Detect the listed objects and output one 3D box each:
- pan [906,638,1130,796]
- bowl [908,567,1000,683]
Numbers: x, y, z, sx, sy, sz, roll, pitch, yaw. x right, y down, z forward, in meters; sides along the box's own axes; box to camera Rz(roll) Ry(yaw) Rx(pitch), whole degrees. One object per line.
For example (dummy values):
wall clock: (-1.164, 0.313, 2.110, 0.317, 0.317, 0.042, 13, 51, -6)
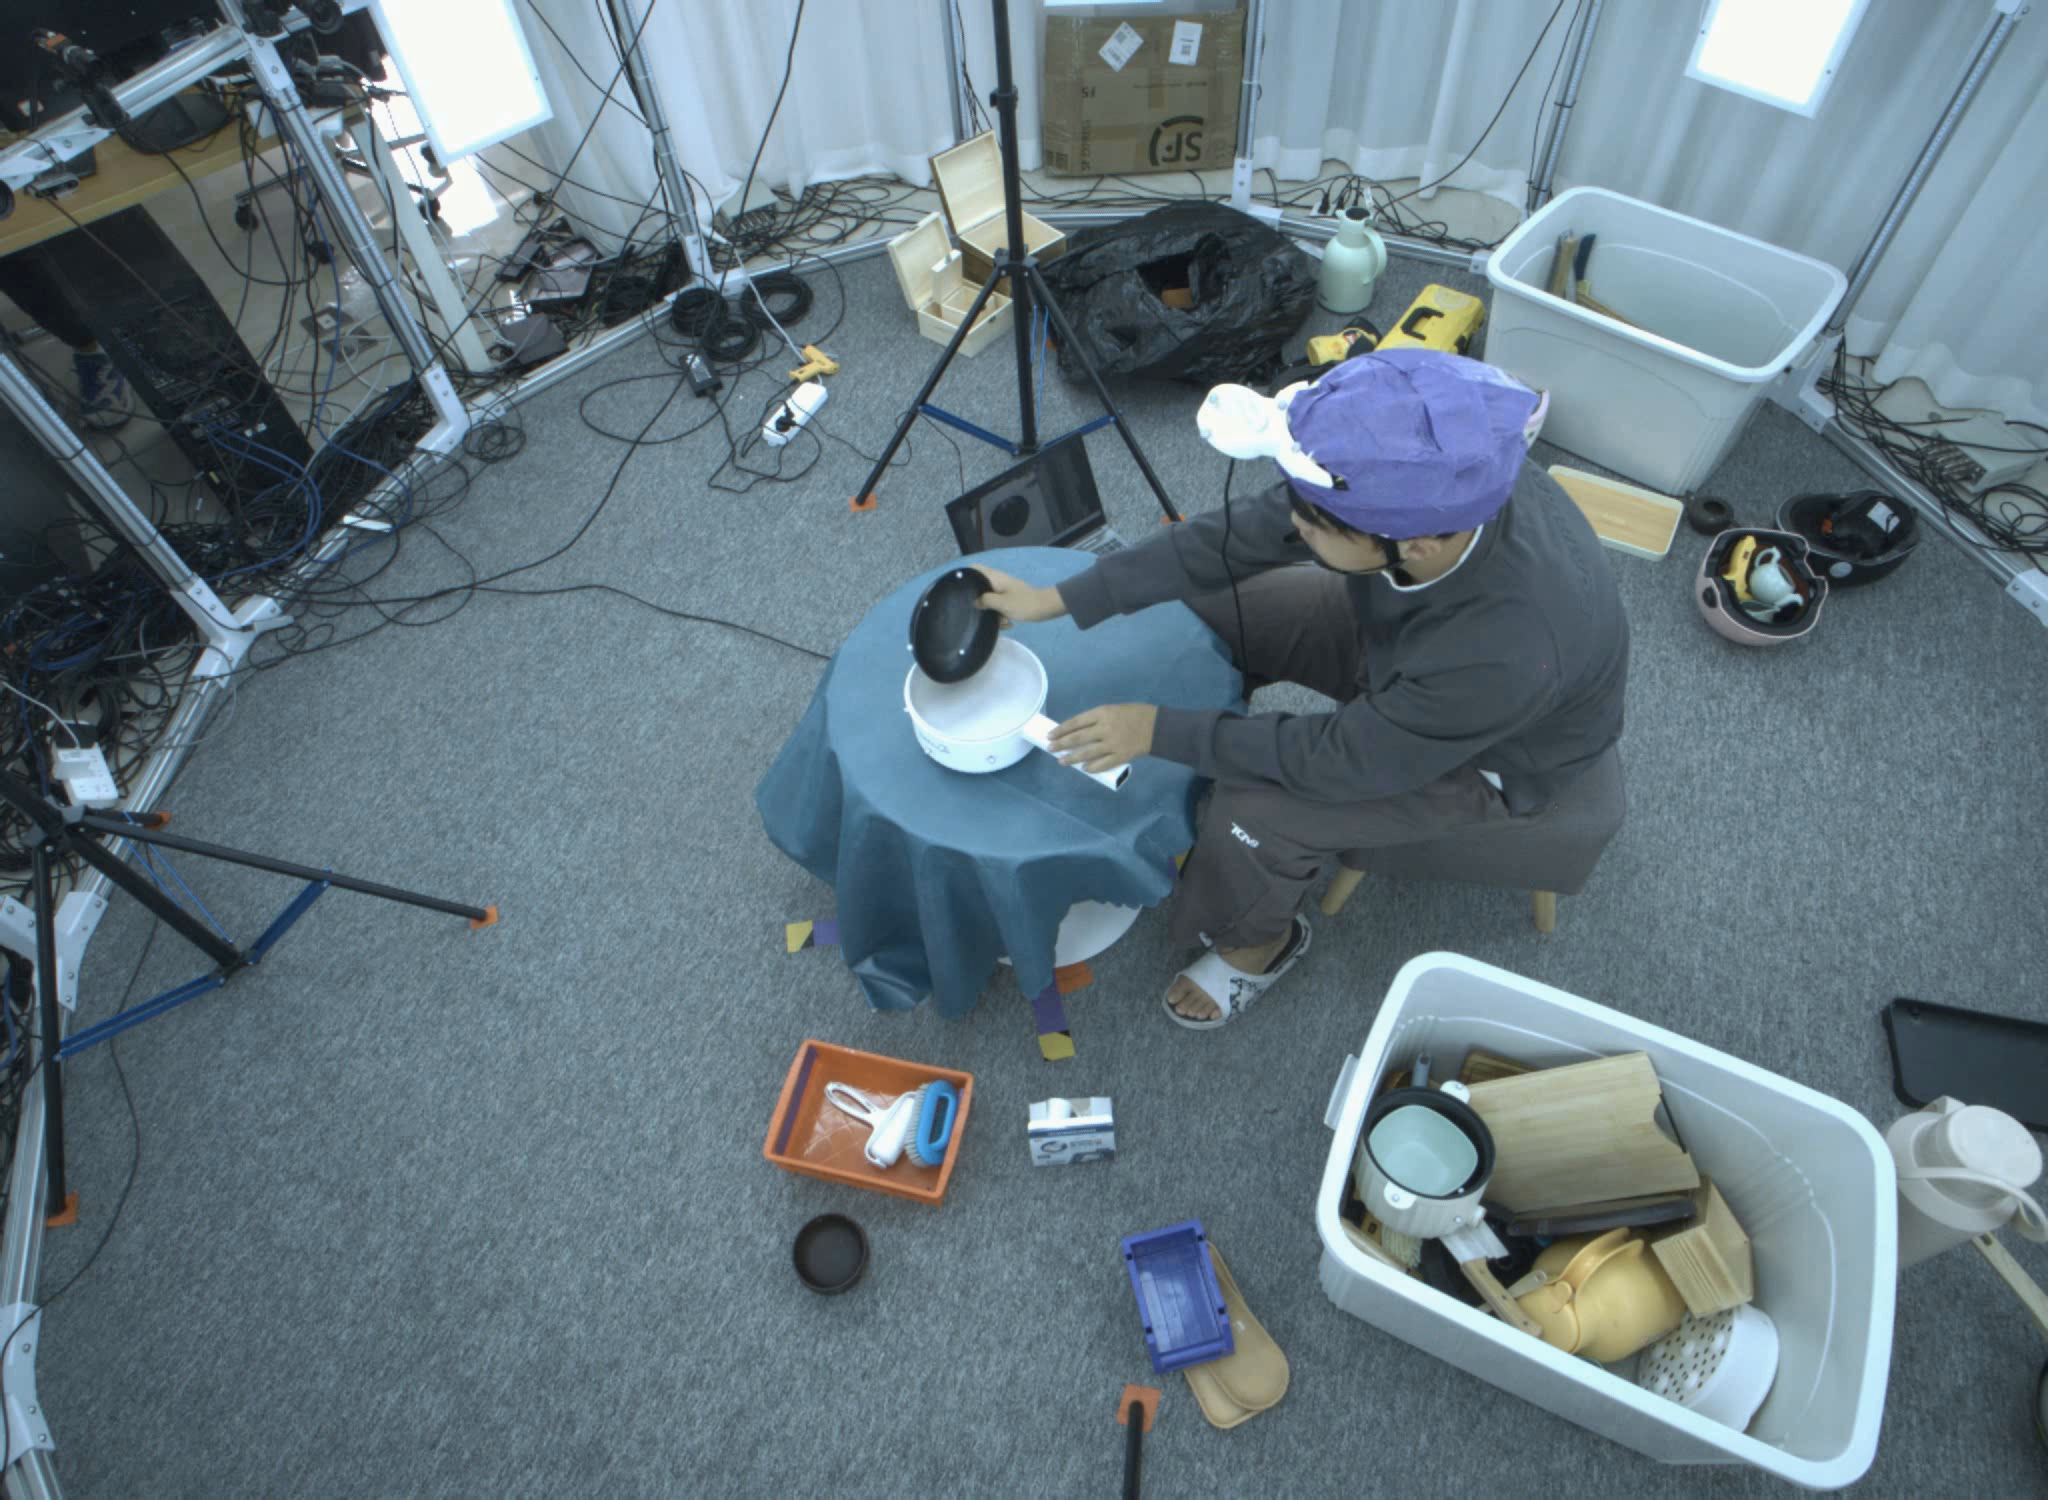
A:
pan: (-0.006, -0.022, 1.753, 0.349, 0.103, 0.202, 31, 58, 19)
bowl: (-0.109, -0.180, 1.738, 0.065, 0.140, 0.170, 16, 84, 52)
